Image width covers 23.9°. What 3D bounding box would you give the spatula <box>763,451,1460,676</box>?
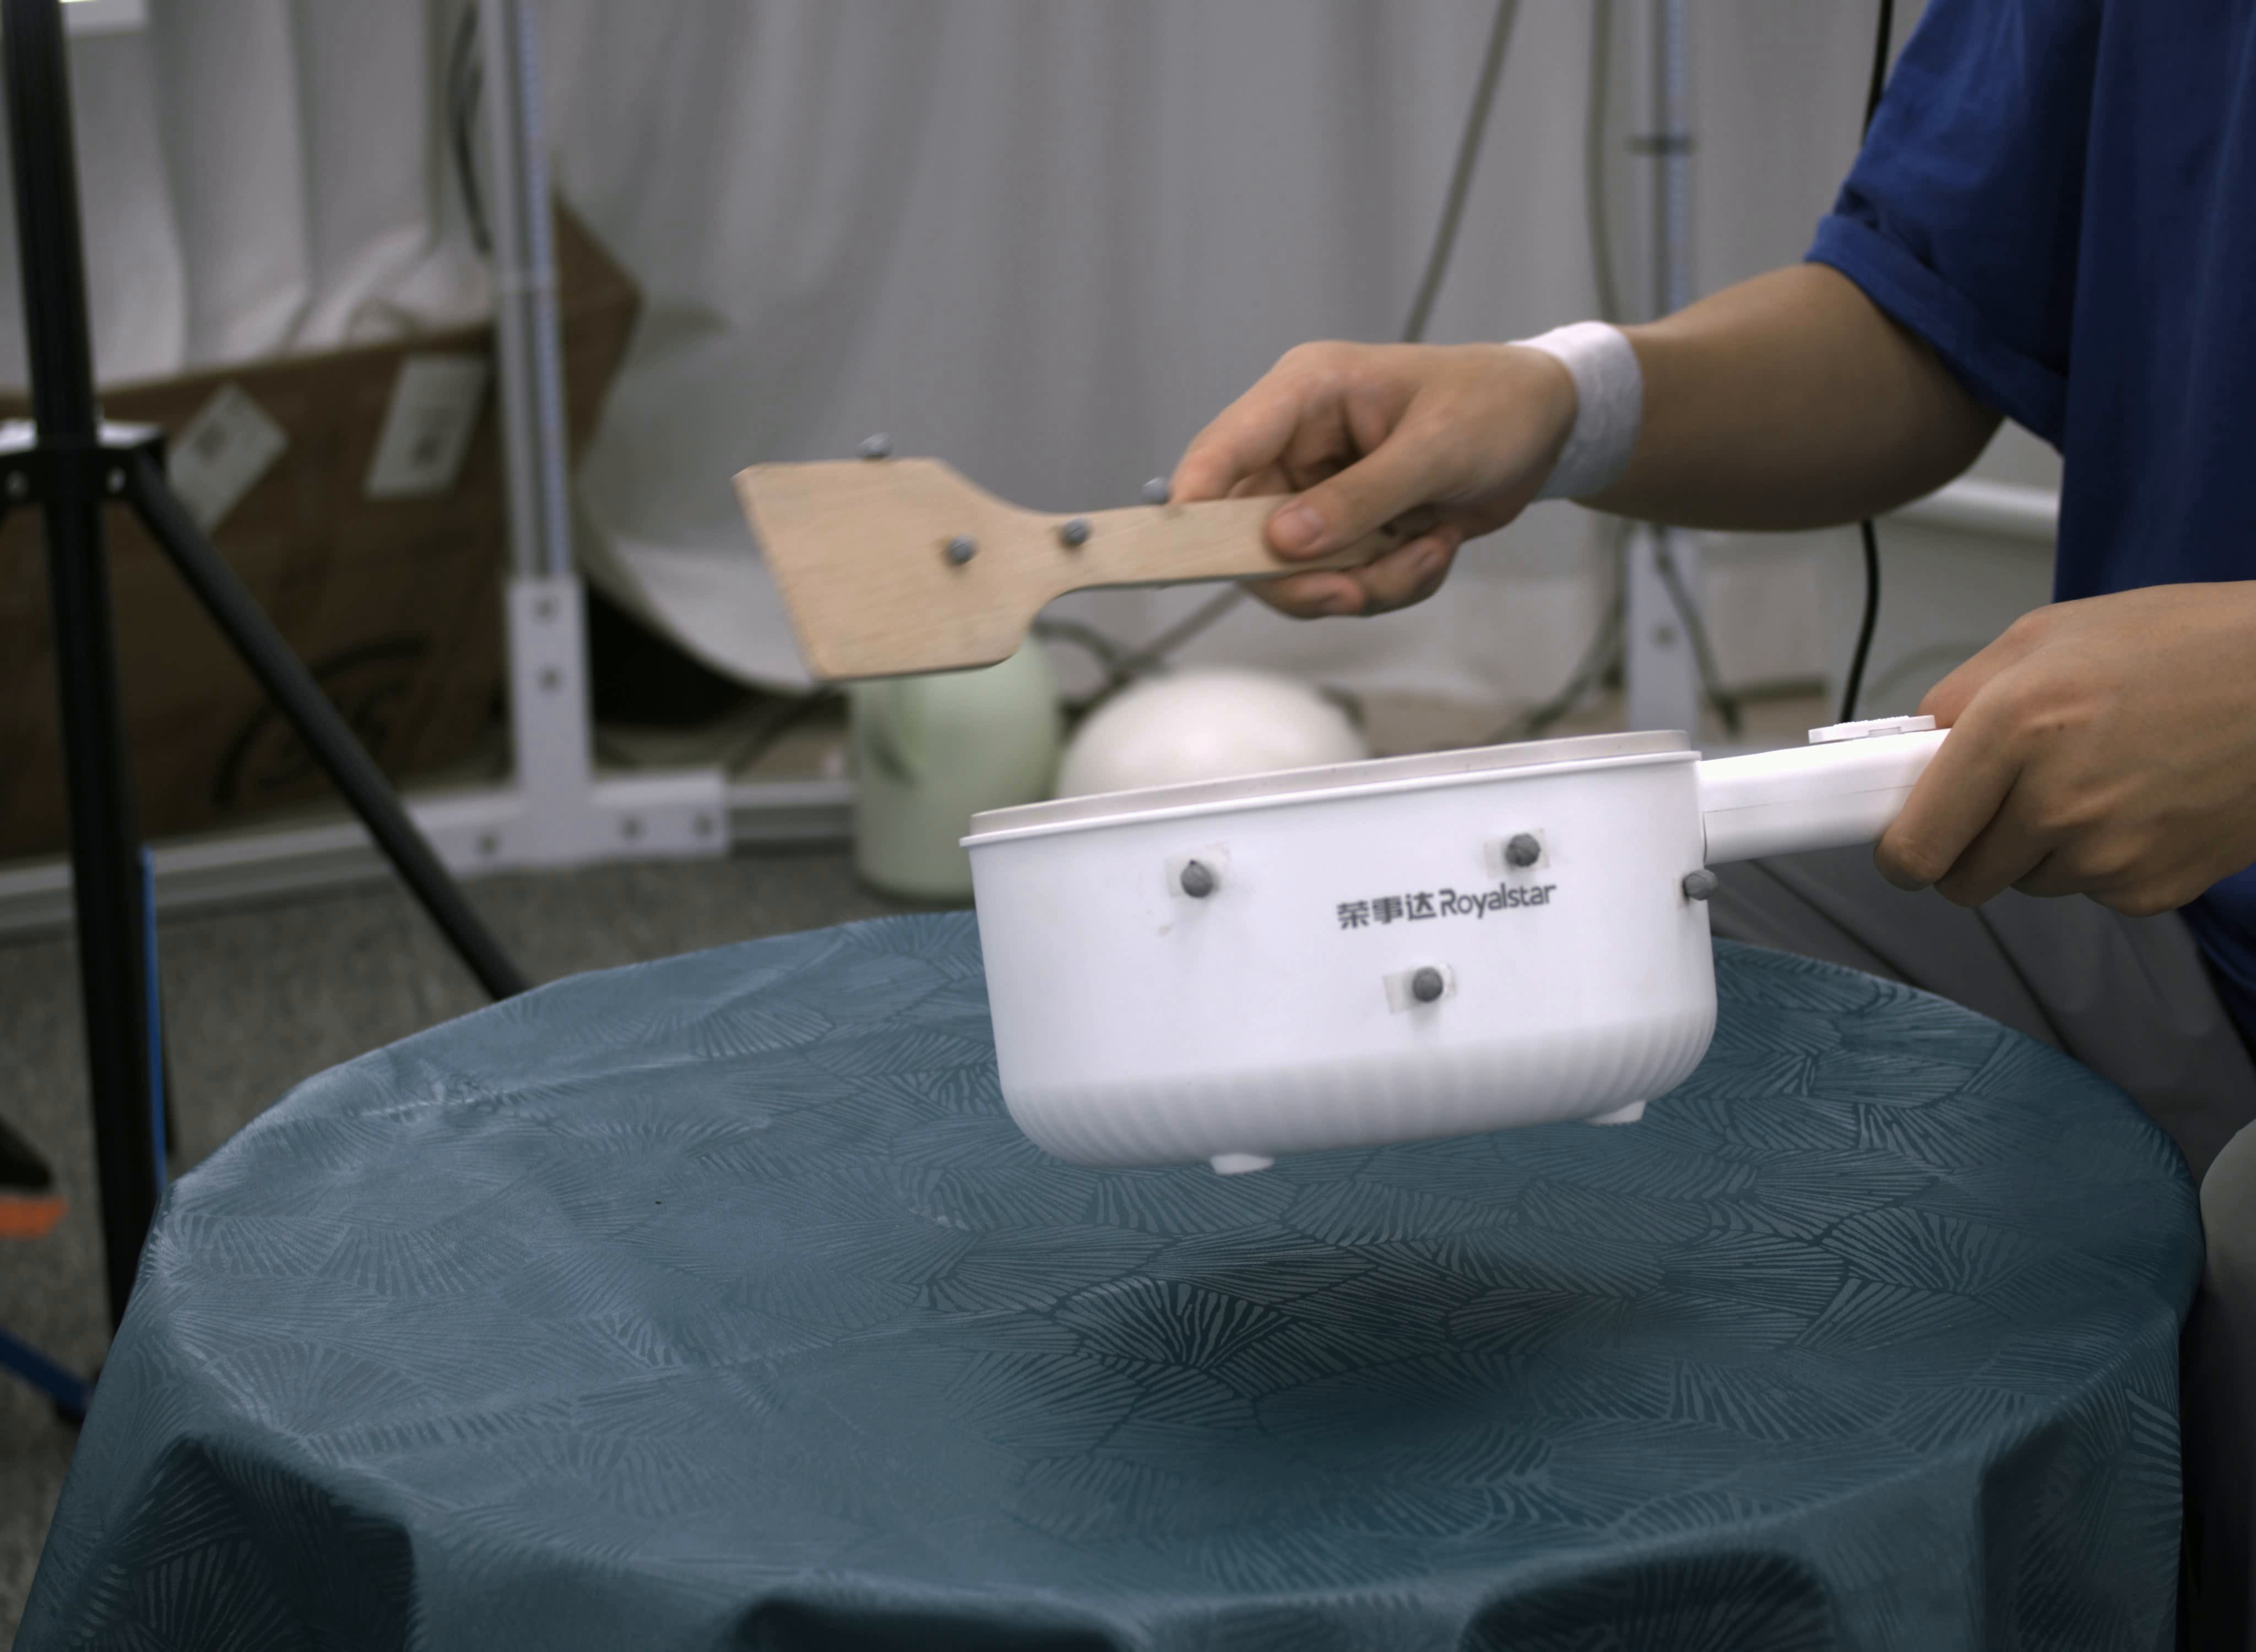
[{"bbox_3d":[0.004,-0.087,1.631,0.285,0.073,0.011,-7,-22,-45],"label":"spatula"}]

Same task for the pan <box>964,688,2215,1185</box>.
[{"bbox_3d":[0.133,0.030,1.440,0.349,0.103,0.203,-6,-3,-15],"label":"pan"}]
